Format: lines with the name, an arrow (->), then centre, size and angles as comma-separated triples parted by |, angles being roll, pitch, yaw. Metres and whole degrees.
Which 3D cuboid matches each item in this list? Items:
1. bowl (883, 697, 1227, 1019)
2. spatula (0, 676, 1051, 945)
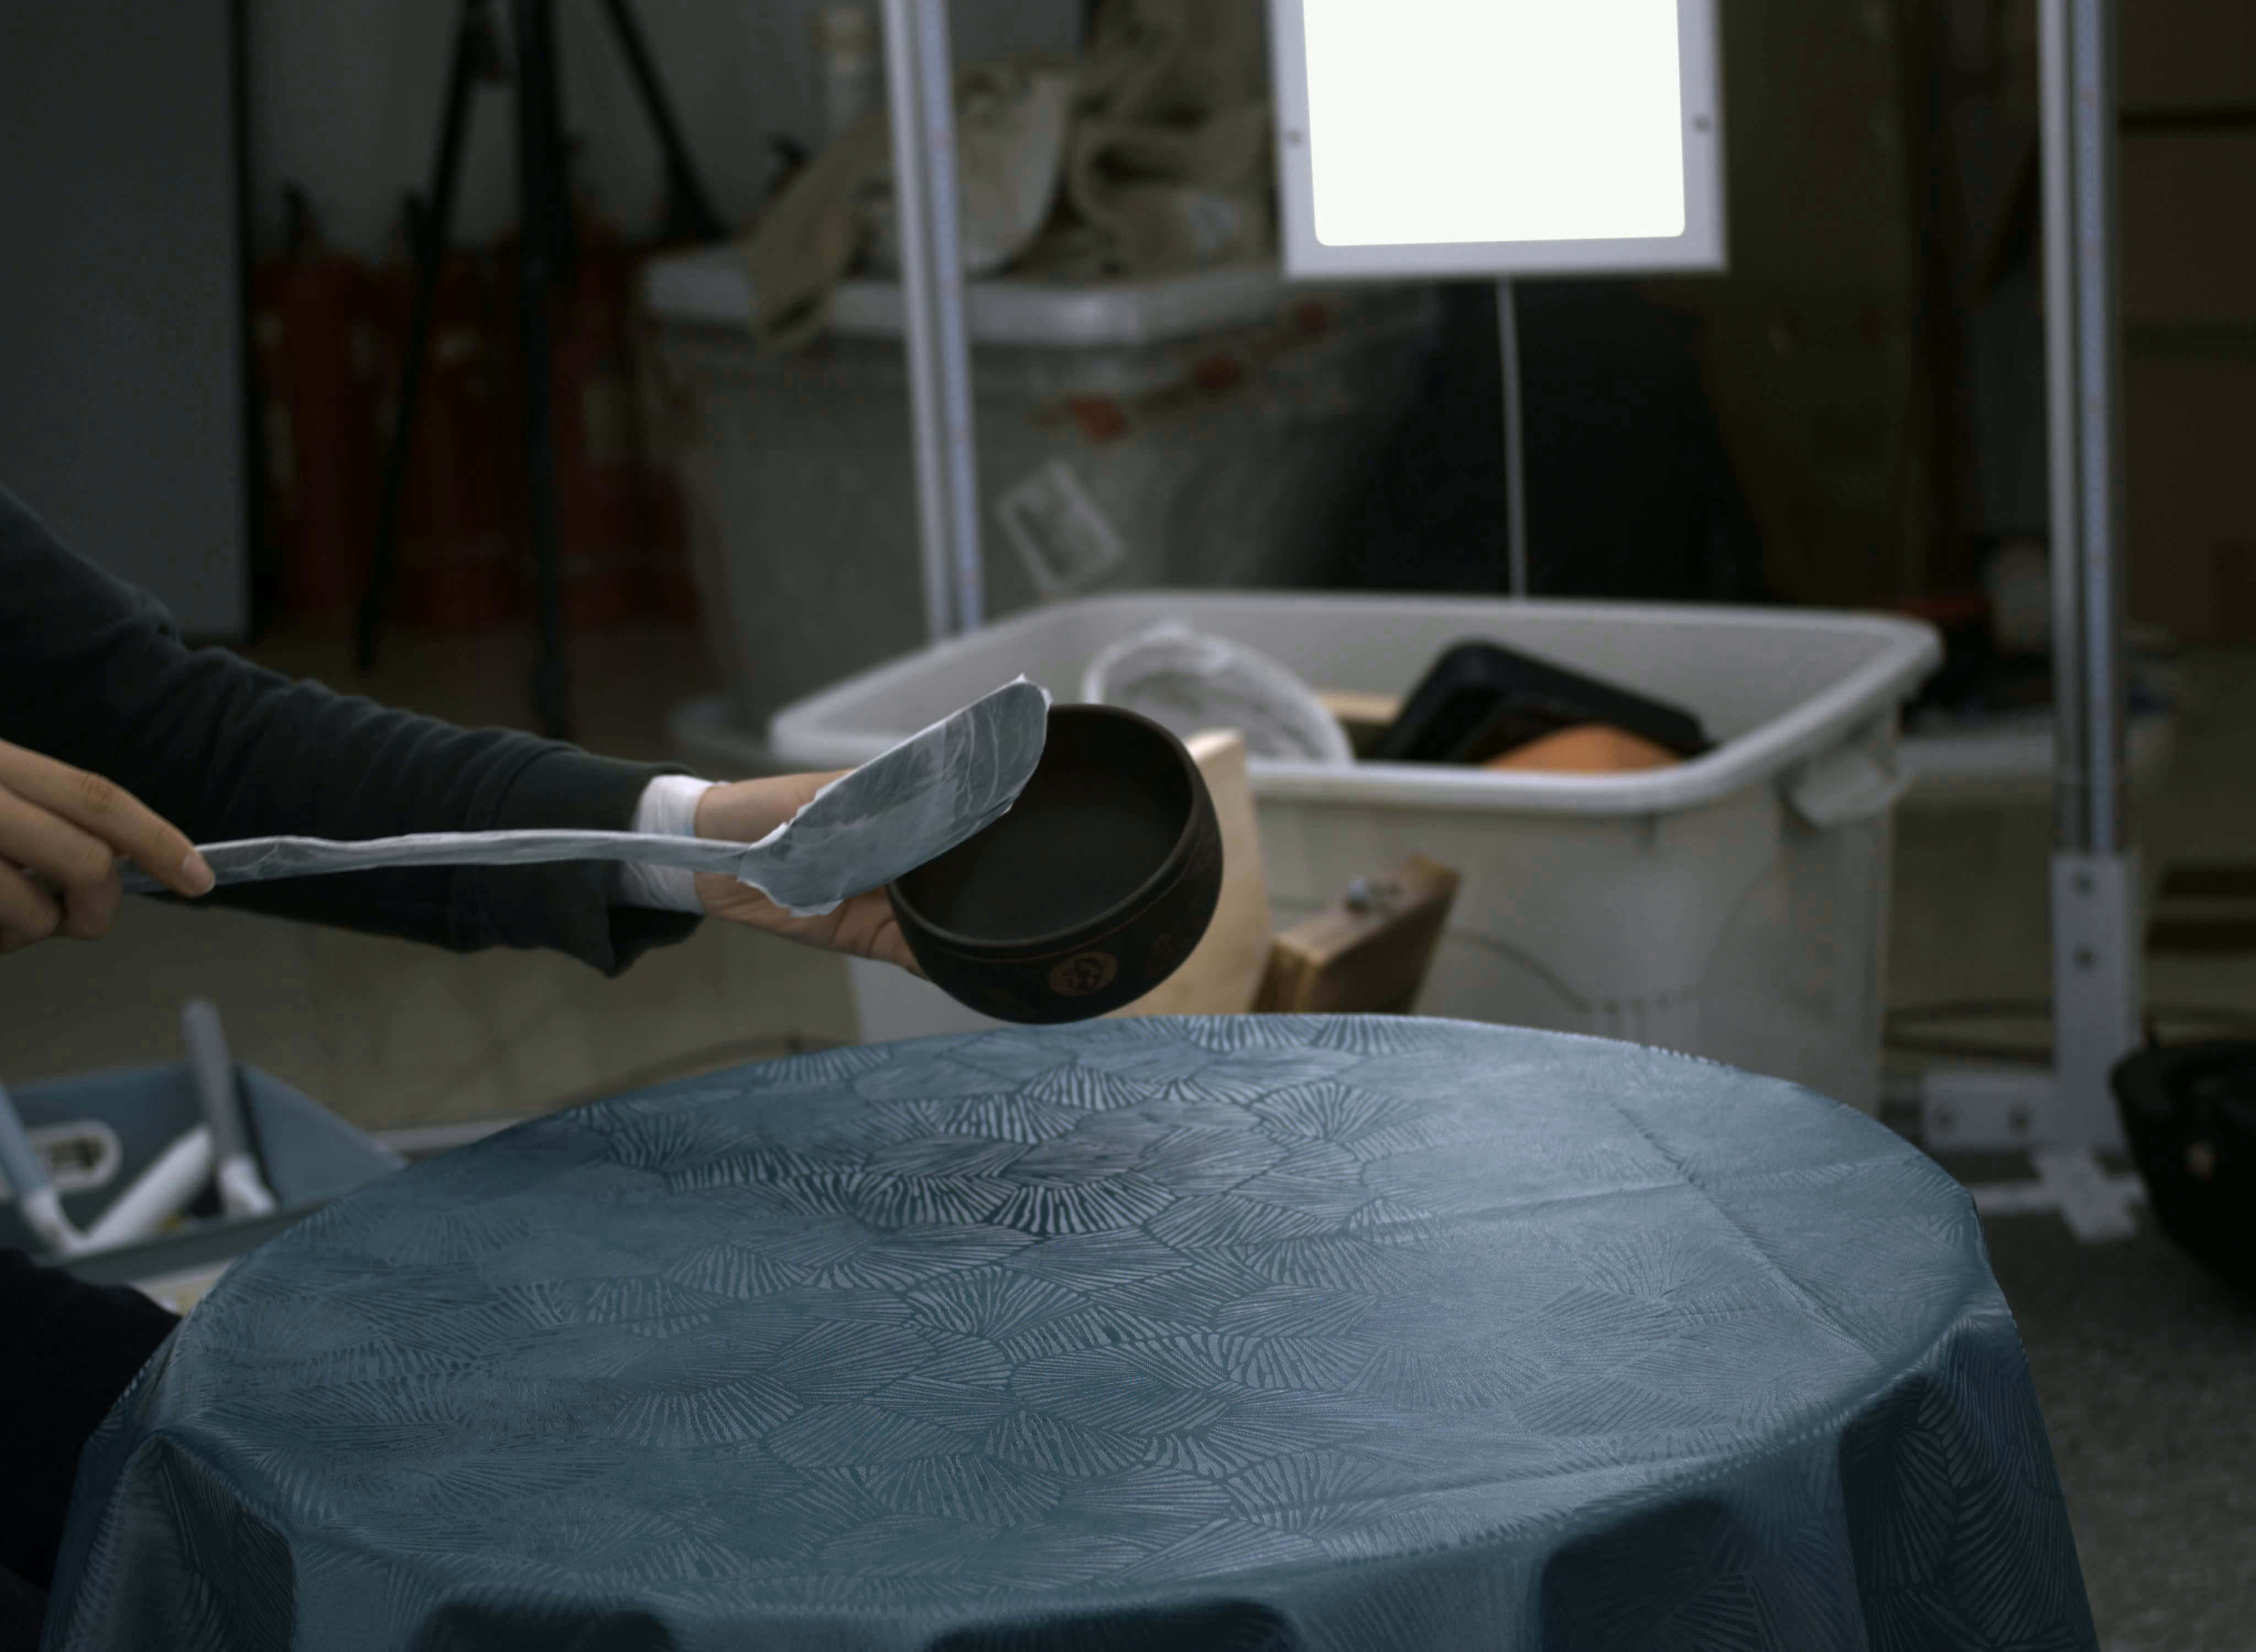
bowl -> -0.021, 0.020, 1.906 | 0.119, 0.069, 0.118 | -12, 43, 10
spatula -> -0.197, 0.006, 1.705 | 0.360, 0.045, 0.100 | -5, -27, -12
